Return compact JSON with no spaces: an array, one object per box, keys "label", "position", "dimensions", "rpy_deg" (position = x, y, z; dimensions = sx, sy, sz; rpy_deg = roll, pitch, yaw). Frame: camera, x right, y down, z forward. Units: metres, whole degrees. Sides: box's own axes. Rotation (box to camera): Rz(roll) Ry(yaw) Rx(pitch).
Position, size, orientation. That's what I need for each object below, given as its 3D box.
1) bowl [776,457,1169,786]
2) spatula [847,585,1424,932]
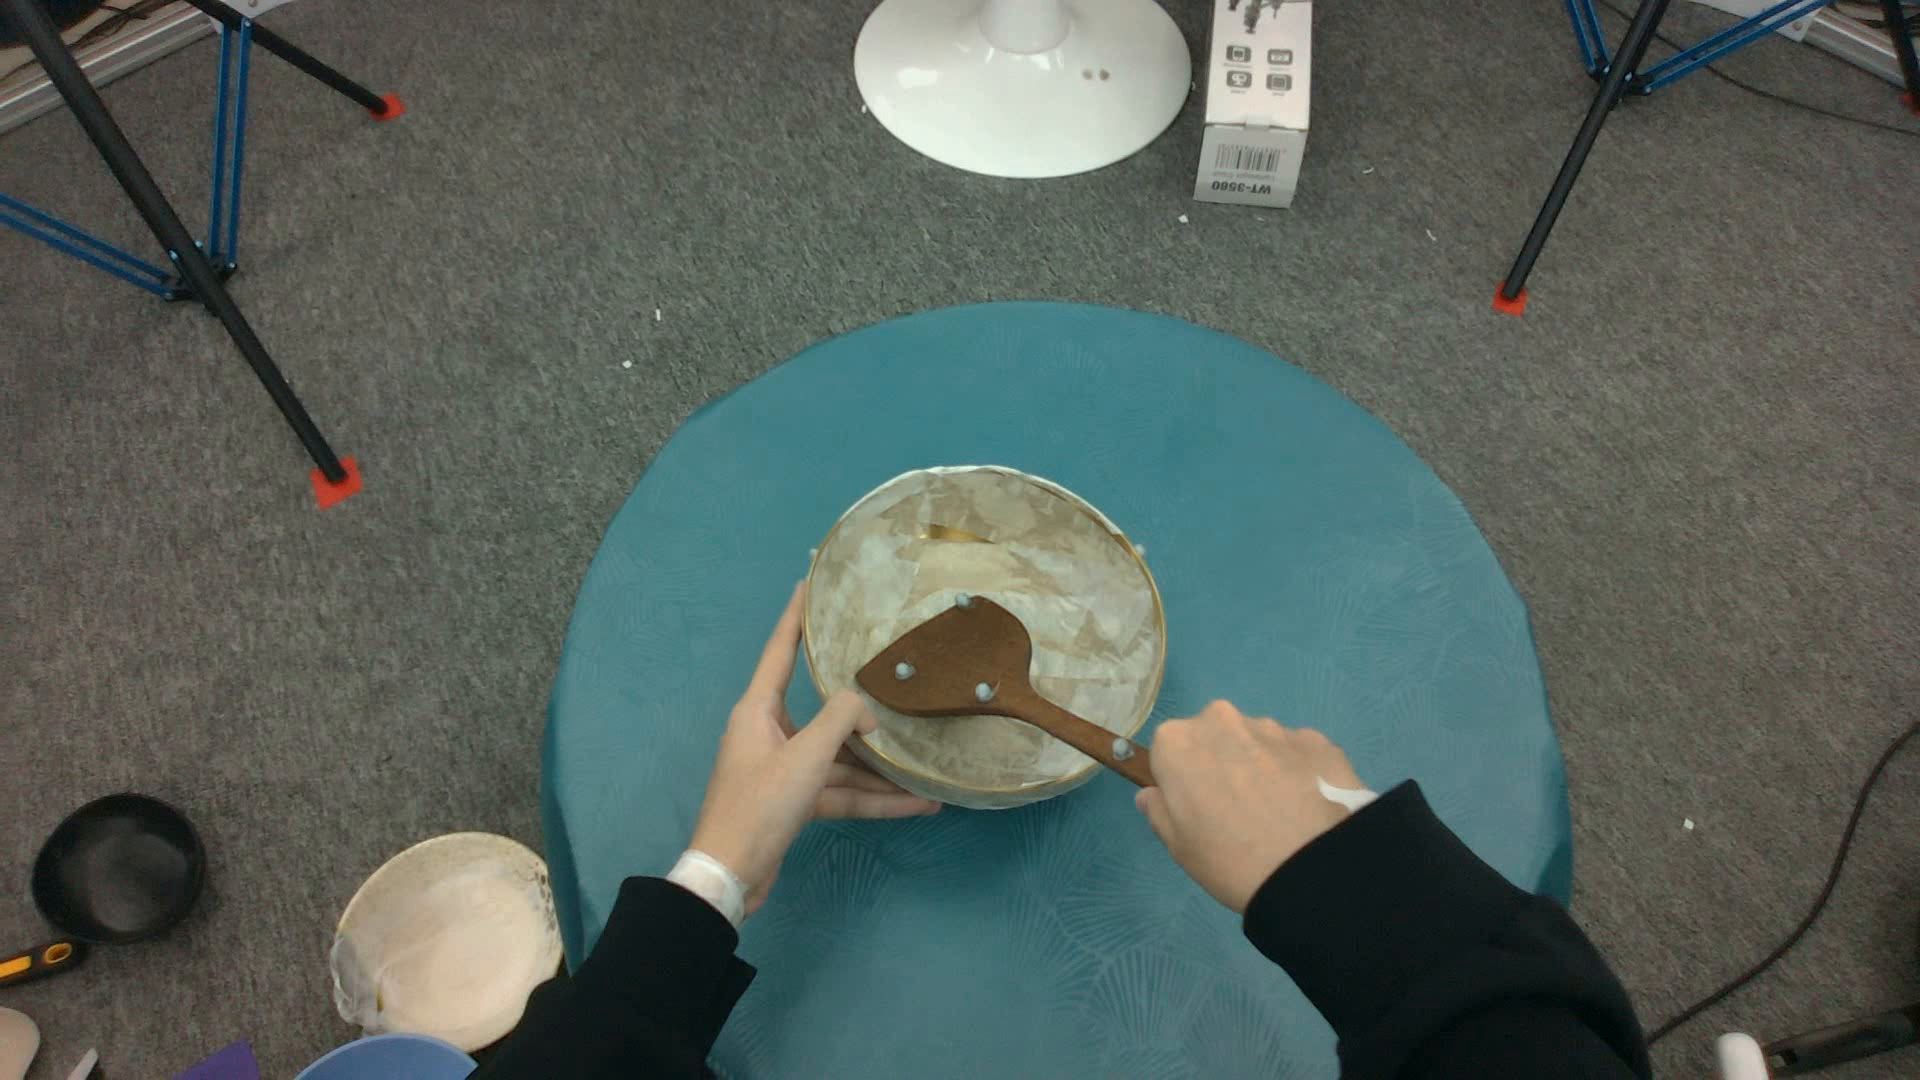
[{"label":"bowl","position":[0.002,0.059,0.764],"dimensions":[0.215,0.094,0.215],"rpy_deg":[7,48,-8]},{"label":"spatula","position":[0.064,0.092,0.652],"dimensions":[0.096,0.016,0.385],"rpy_deg":[-32,27,-21]}]
